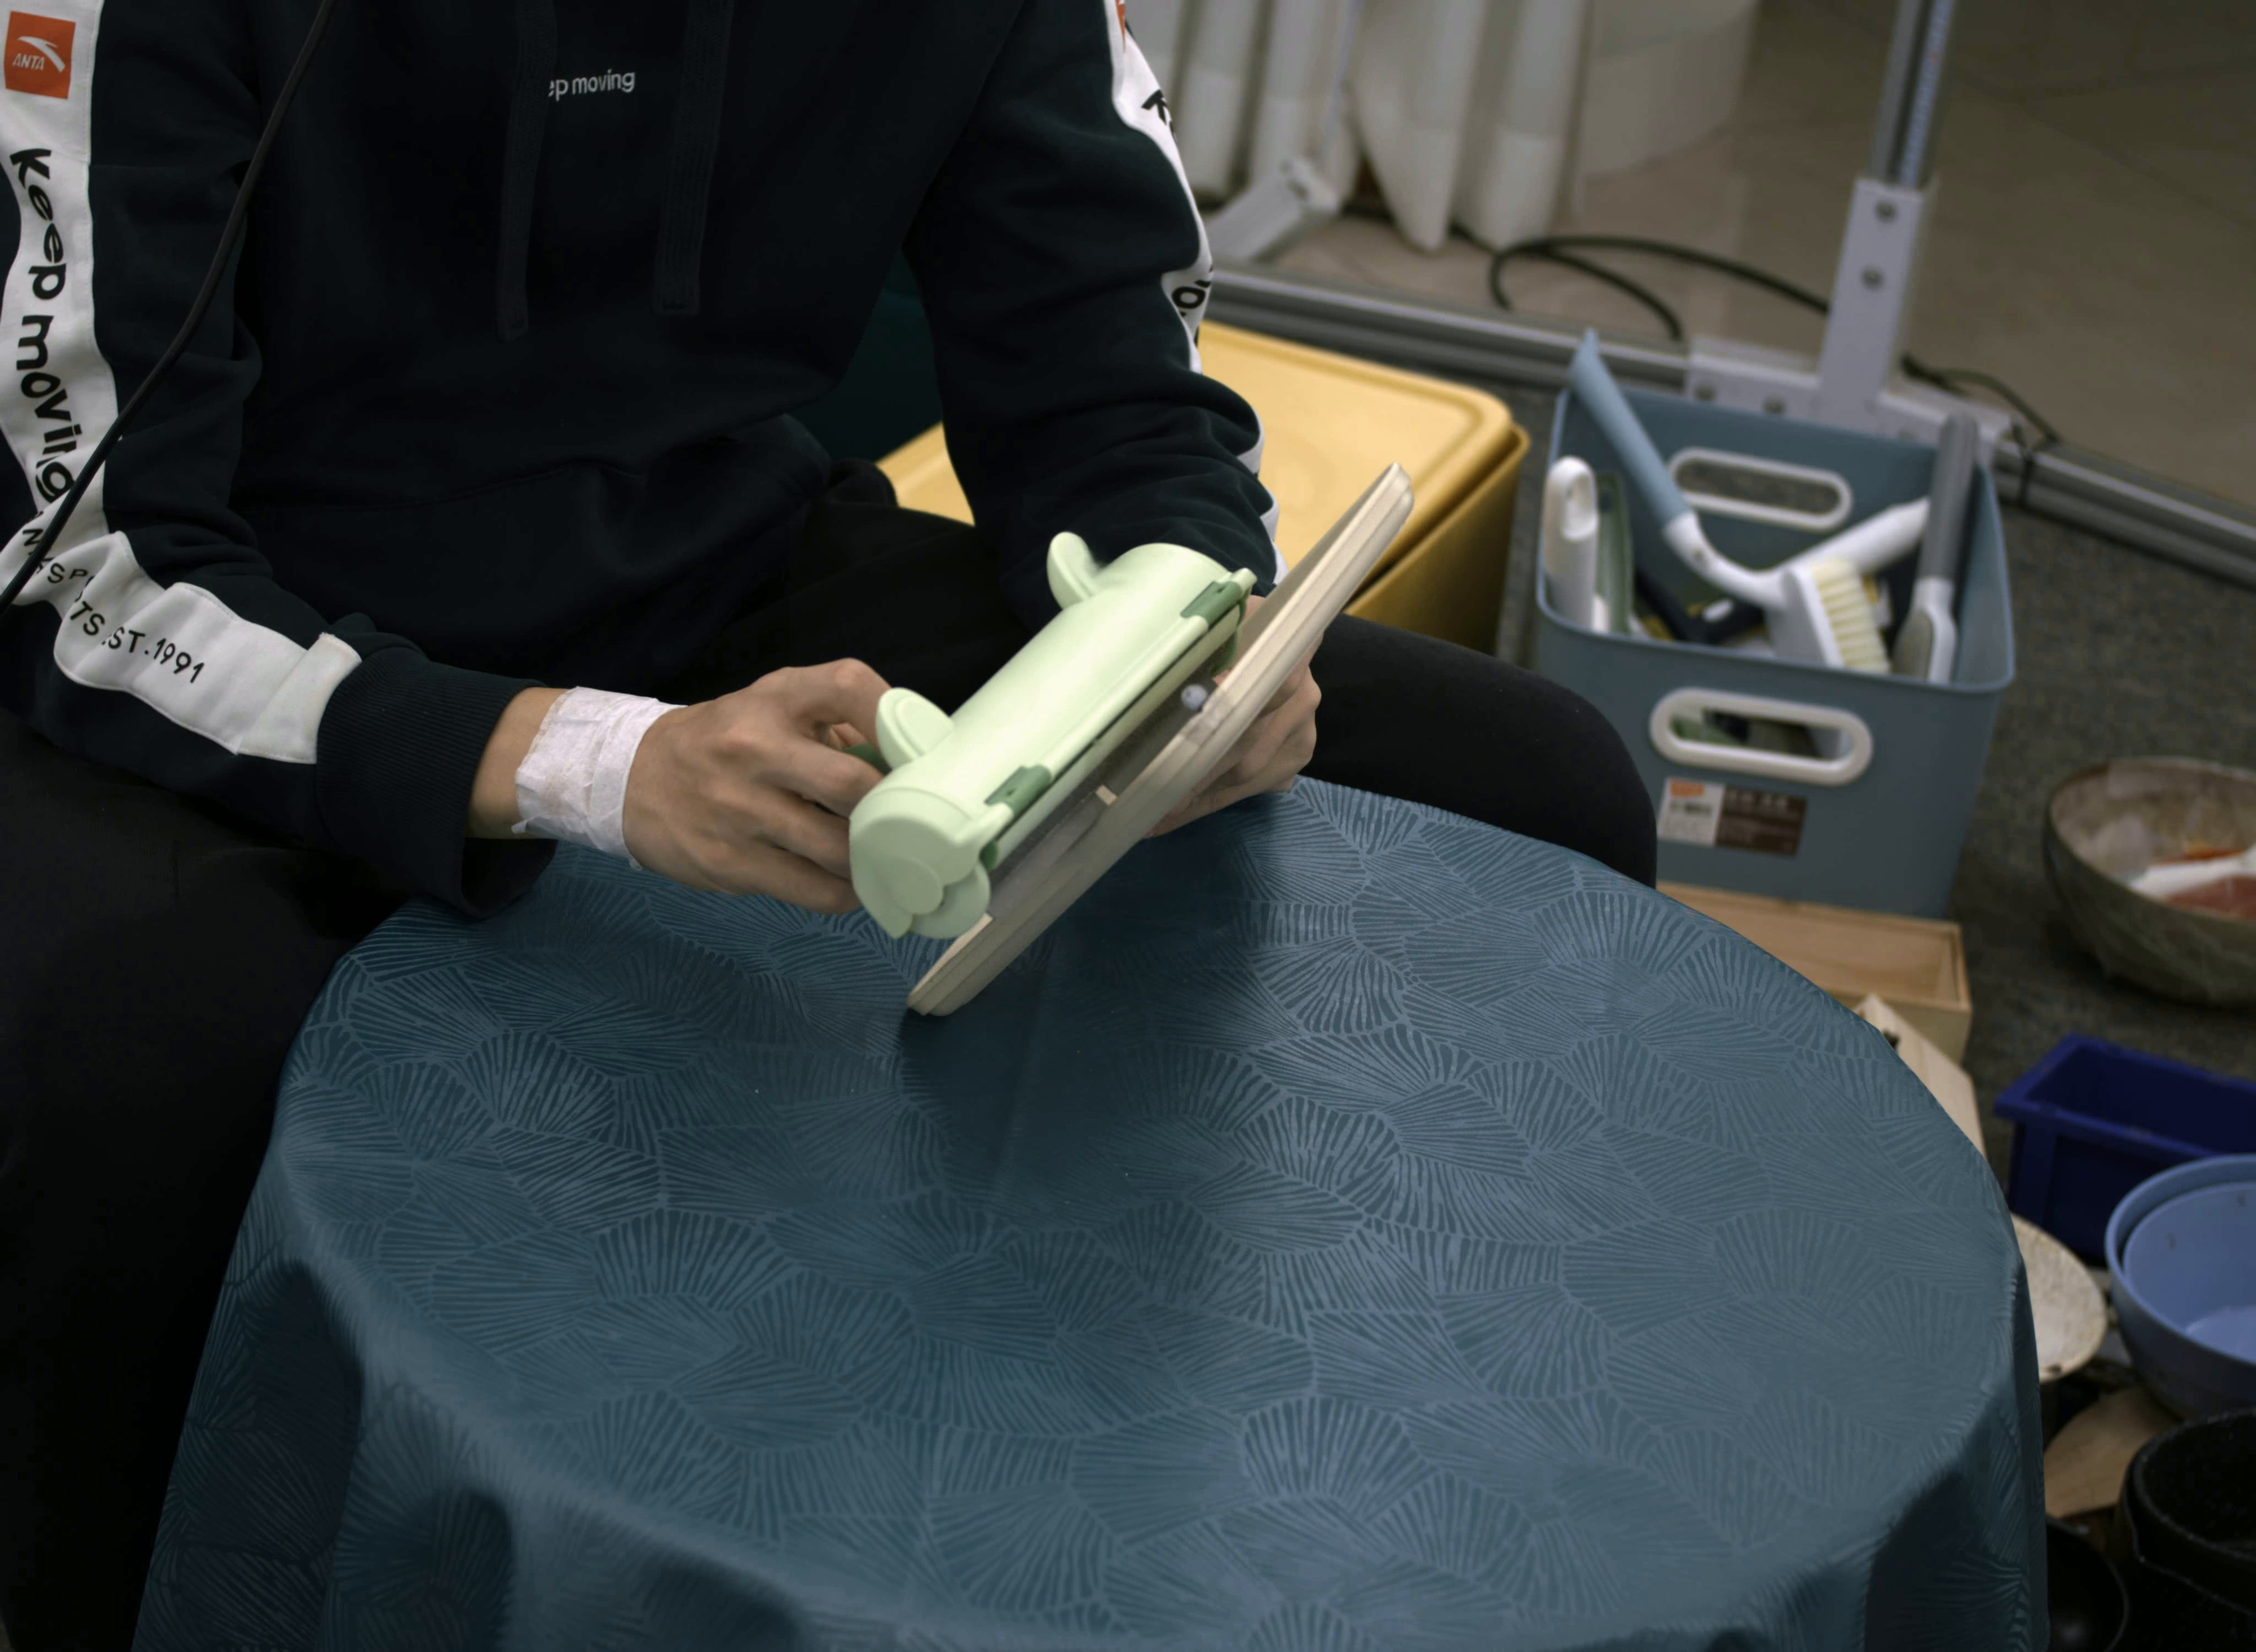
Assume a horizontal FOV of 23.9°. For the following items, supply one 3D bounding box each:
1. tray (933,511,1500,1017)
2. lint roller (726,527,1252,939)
[{"bbox_3d":[0.032,-0.017,1.849,0.017,0.240,0.171,47,51,-7],"label":"tray"},{"bbox_3d":[-0.074,-0.032,1.789,0.184,0.082,0.198,-6,25,35],"label":"lint roller"}]
